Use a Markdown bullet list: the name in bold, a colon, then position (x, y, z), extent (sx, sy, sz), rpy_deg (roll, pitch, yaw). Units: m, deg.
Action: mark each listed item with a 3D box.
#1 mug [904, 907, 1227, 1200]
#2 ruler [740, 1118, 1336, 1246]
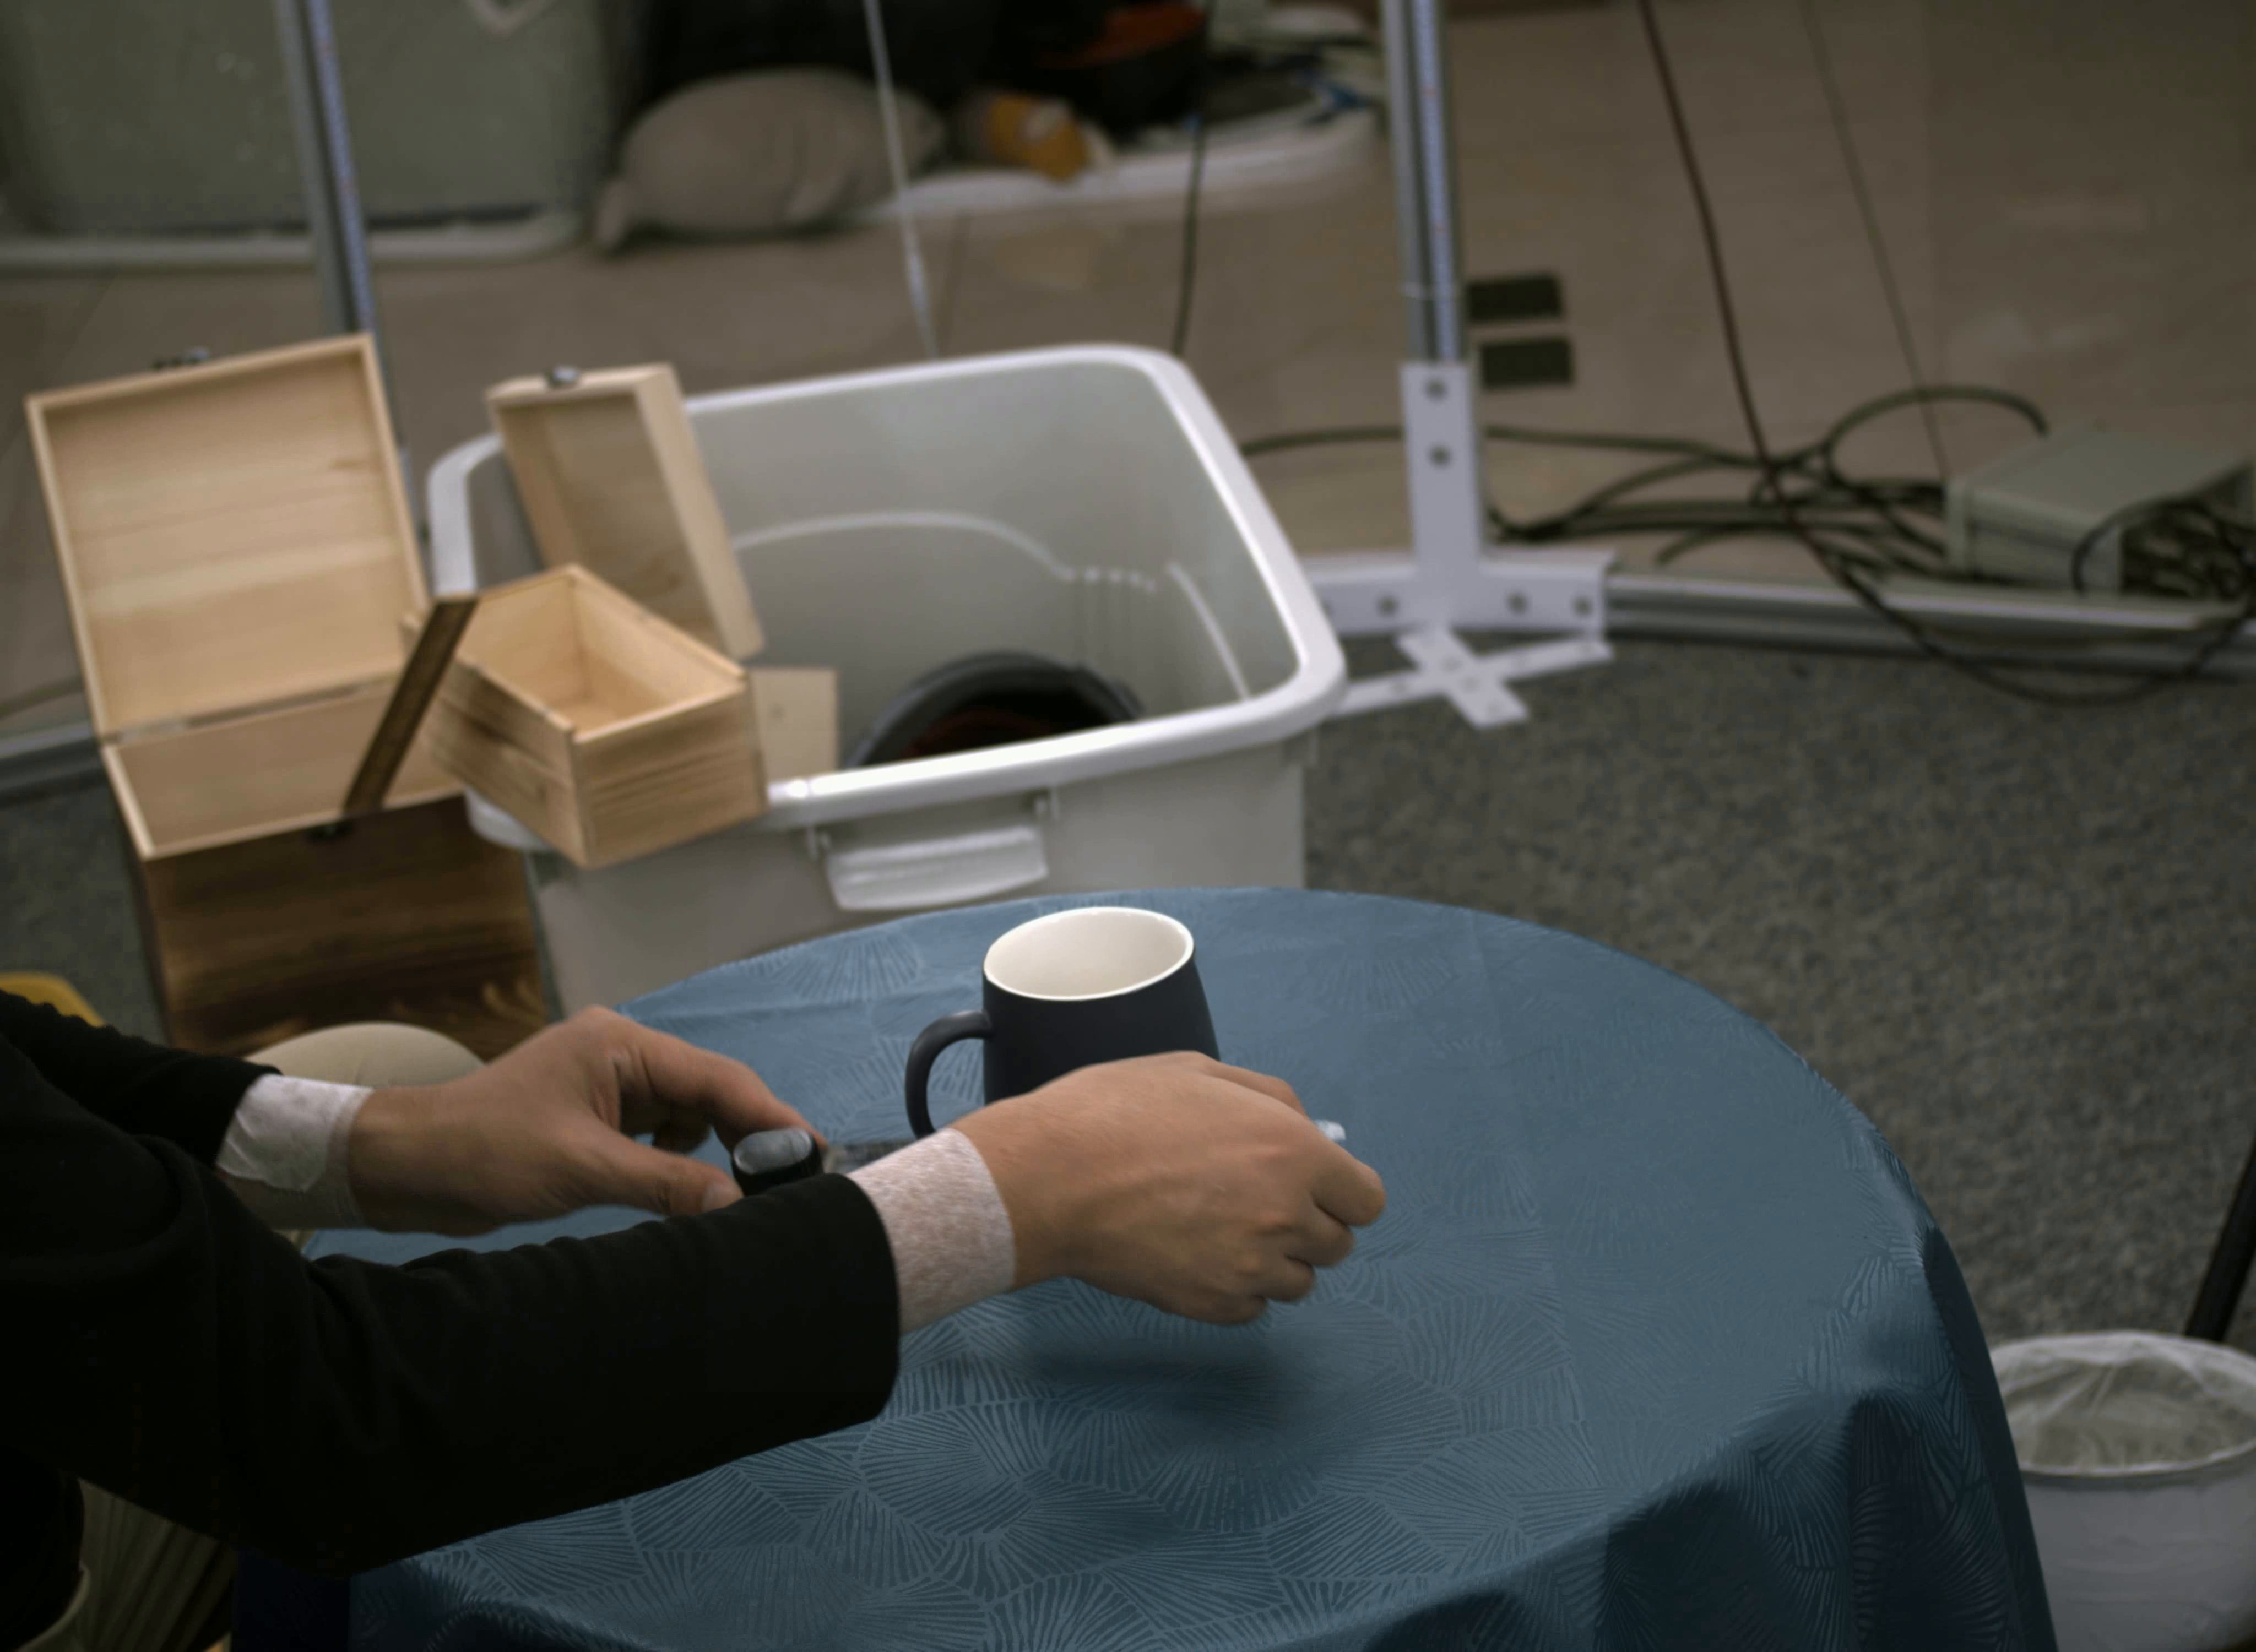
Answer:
- **mug**: position (-0.025, 0.090, 2.148), extent (0.123, 0.091, 0.092), rpy_deg (-11, 25, -12)
- **ruler**: position (-0.034, 0.121, 2.027), extent (0.218, 0.024, 0.037), rpy_deg (-7, 35, 15)
